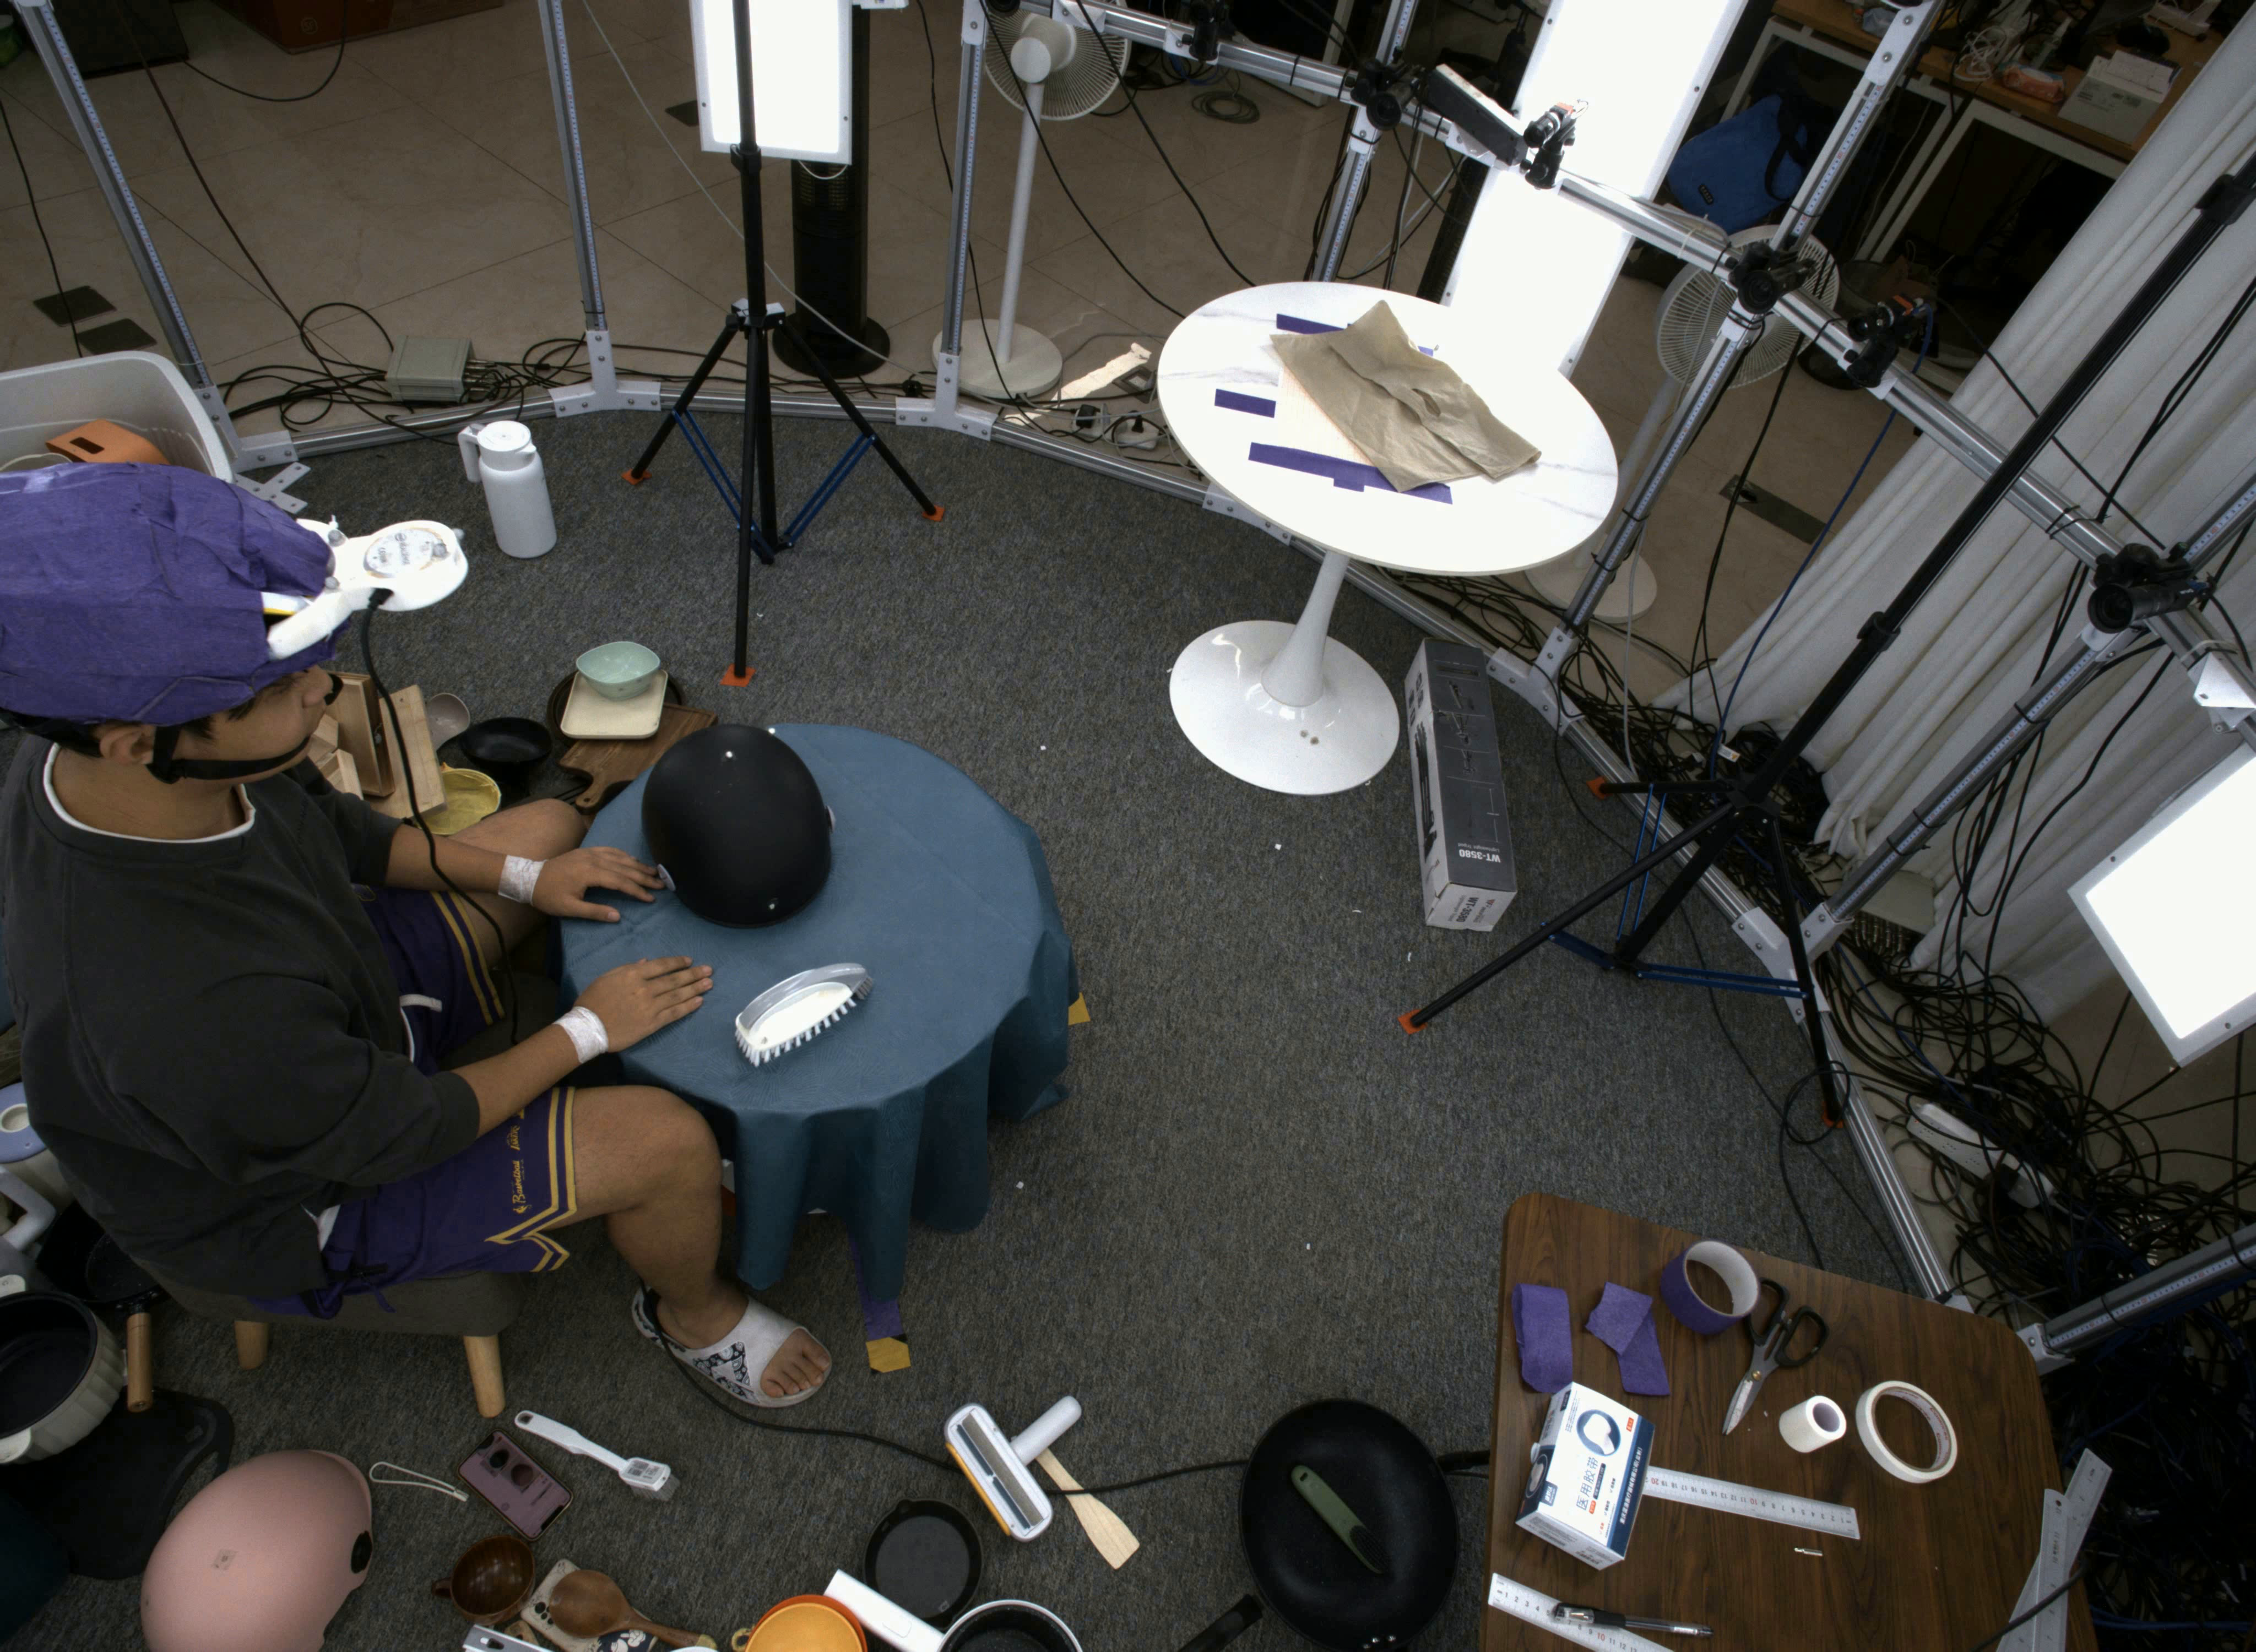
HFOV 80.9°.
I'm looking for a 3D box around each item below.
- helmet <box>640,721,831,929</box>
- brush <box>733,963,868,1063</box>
[{"bbox_3d":[-0.497,-0.024,1.625,0.231,0.170,0.267,-21,63,-26],"label":"helmet"},{"bbox_3d":[-0.382,0.200,1.532,0.176,0.096,0.060,-26,63,-31],"label":"brush"}]
